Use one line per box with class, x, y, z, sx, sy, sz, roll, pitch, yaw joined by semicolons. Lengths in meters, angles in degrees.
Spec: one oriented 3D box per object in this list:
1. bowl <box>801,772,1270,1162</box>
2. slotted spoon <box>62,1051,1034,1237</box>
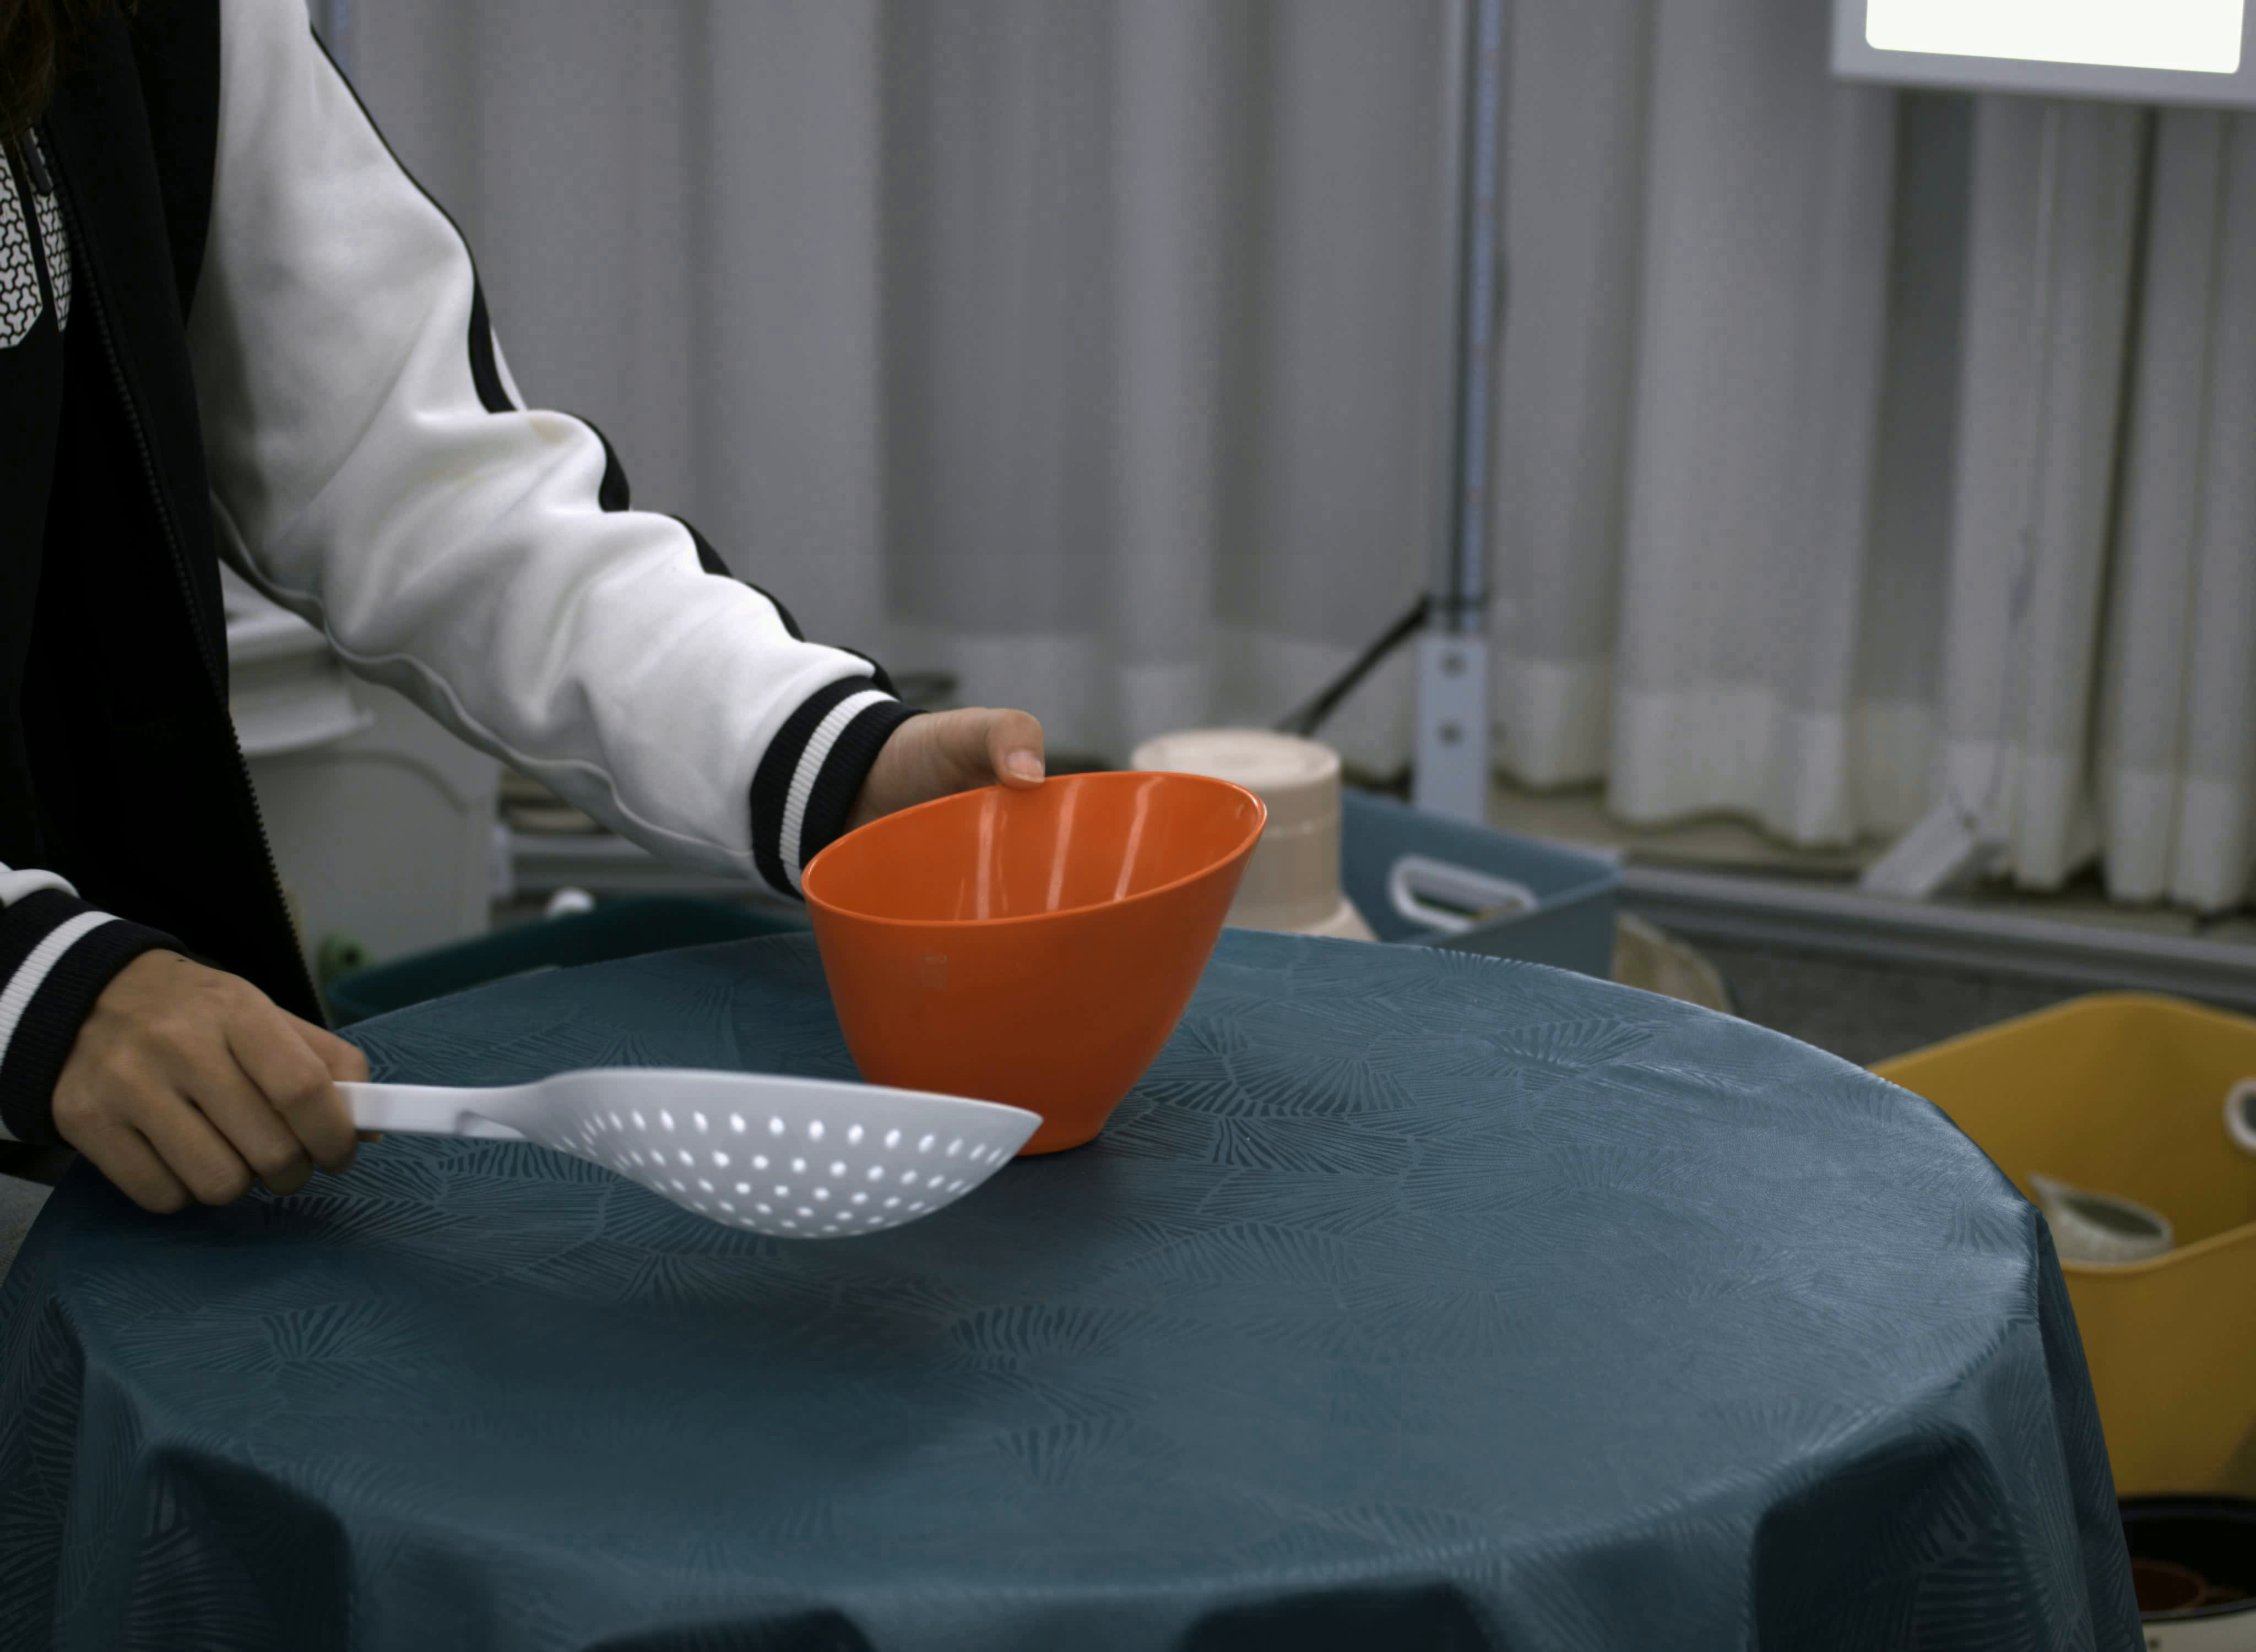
bowl;-0.030;0.046;1.666;0.147;0.105;0.147;2;17;0
slotted spoon;-0.183;0.083;1.541;0.345;0.046;0.137;6;-8;35
